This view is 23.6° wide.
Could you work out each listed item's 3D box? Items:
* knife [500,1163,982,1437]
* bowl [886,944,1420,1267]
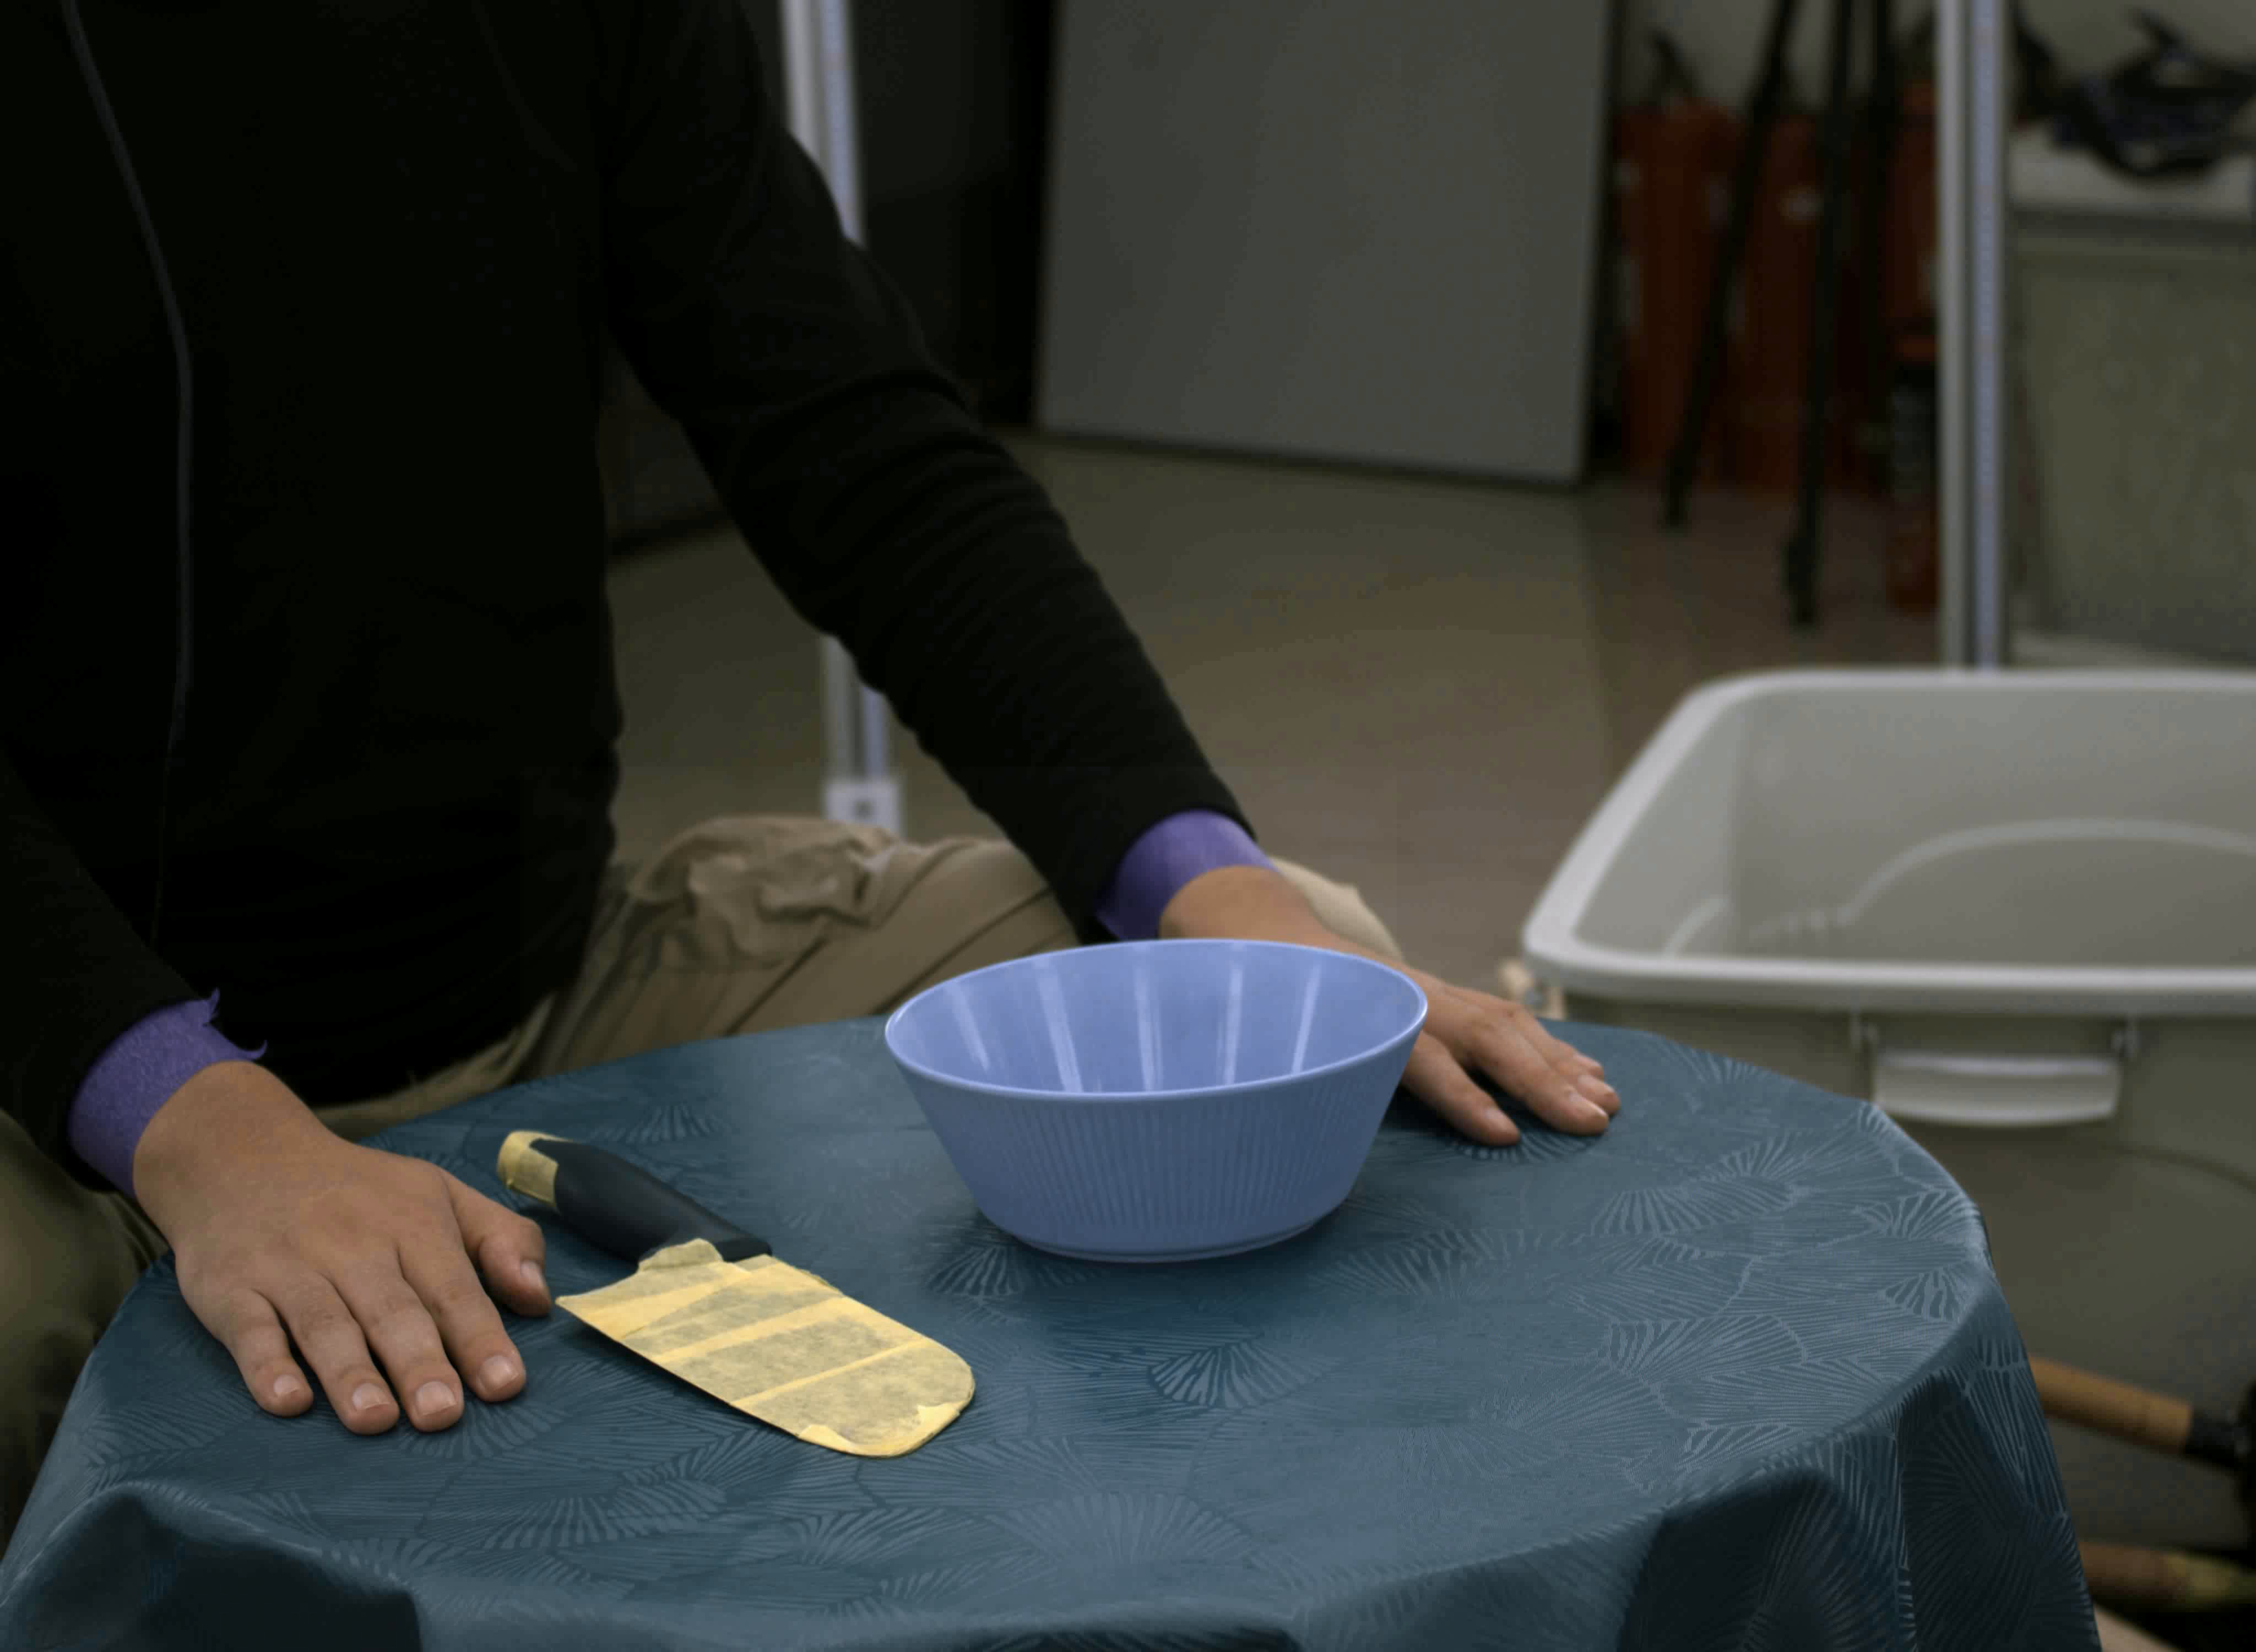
[{"bbox_3d":[-0.133,0.149,1.677,0.079,0.027,0.292,-11,16,-30],"label":"knife"},{"bbox_3d":[0.010,0.093,1.743,0.174,0.071,0.176,-5,14,0],"label":"bowl"}]
